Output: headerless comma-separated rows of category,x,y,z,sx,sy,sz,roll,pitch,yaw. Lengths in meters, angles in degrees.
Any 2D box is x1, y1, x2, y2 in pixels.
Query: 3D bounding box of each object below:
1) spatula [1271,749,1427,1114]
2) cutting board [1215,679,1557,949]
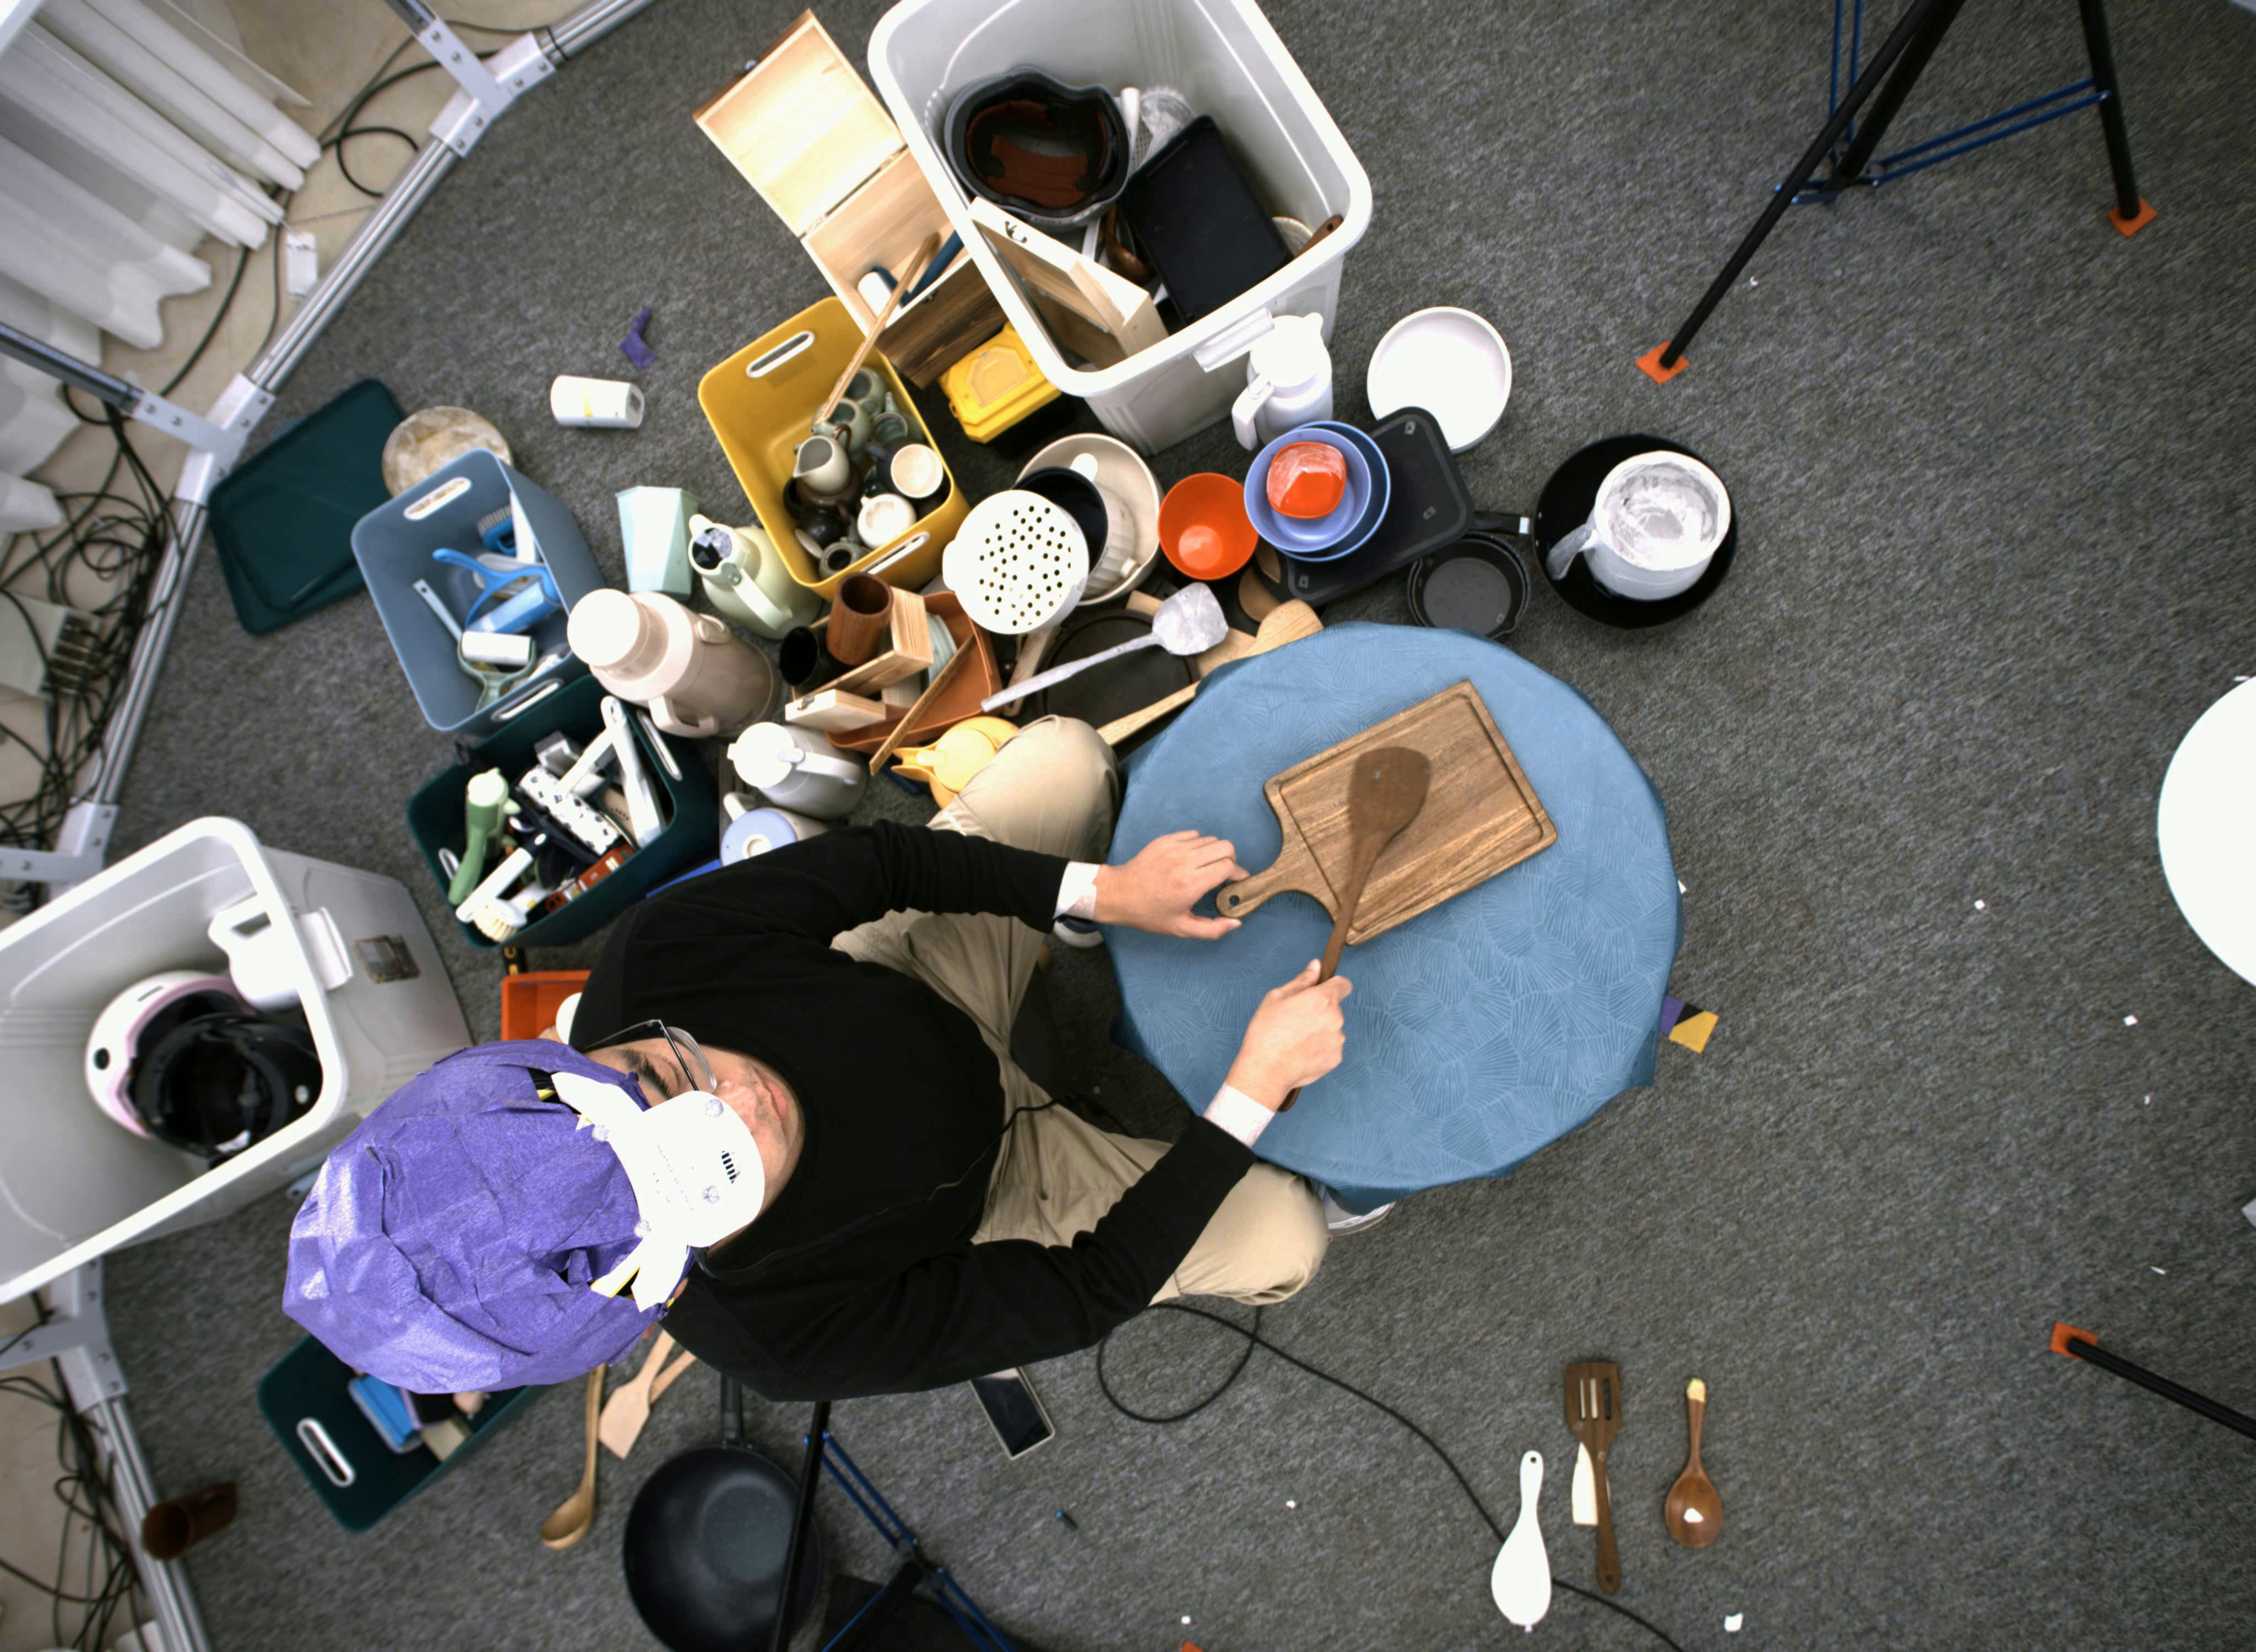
spatula,0.210,0.099,1.375,0.096,0.016,0.382,11,78,48
cutting board,0.247,0.006,1.433,0.352,0.023,0.200,-28,82,-1
